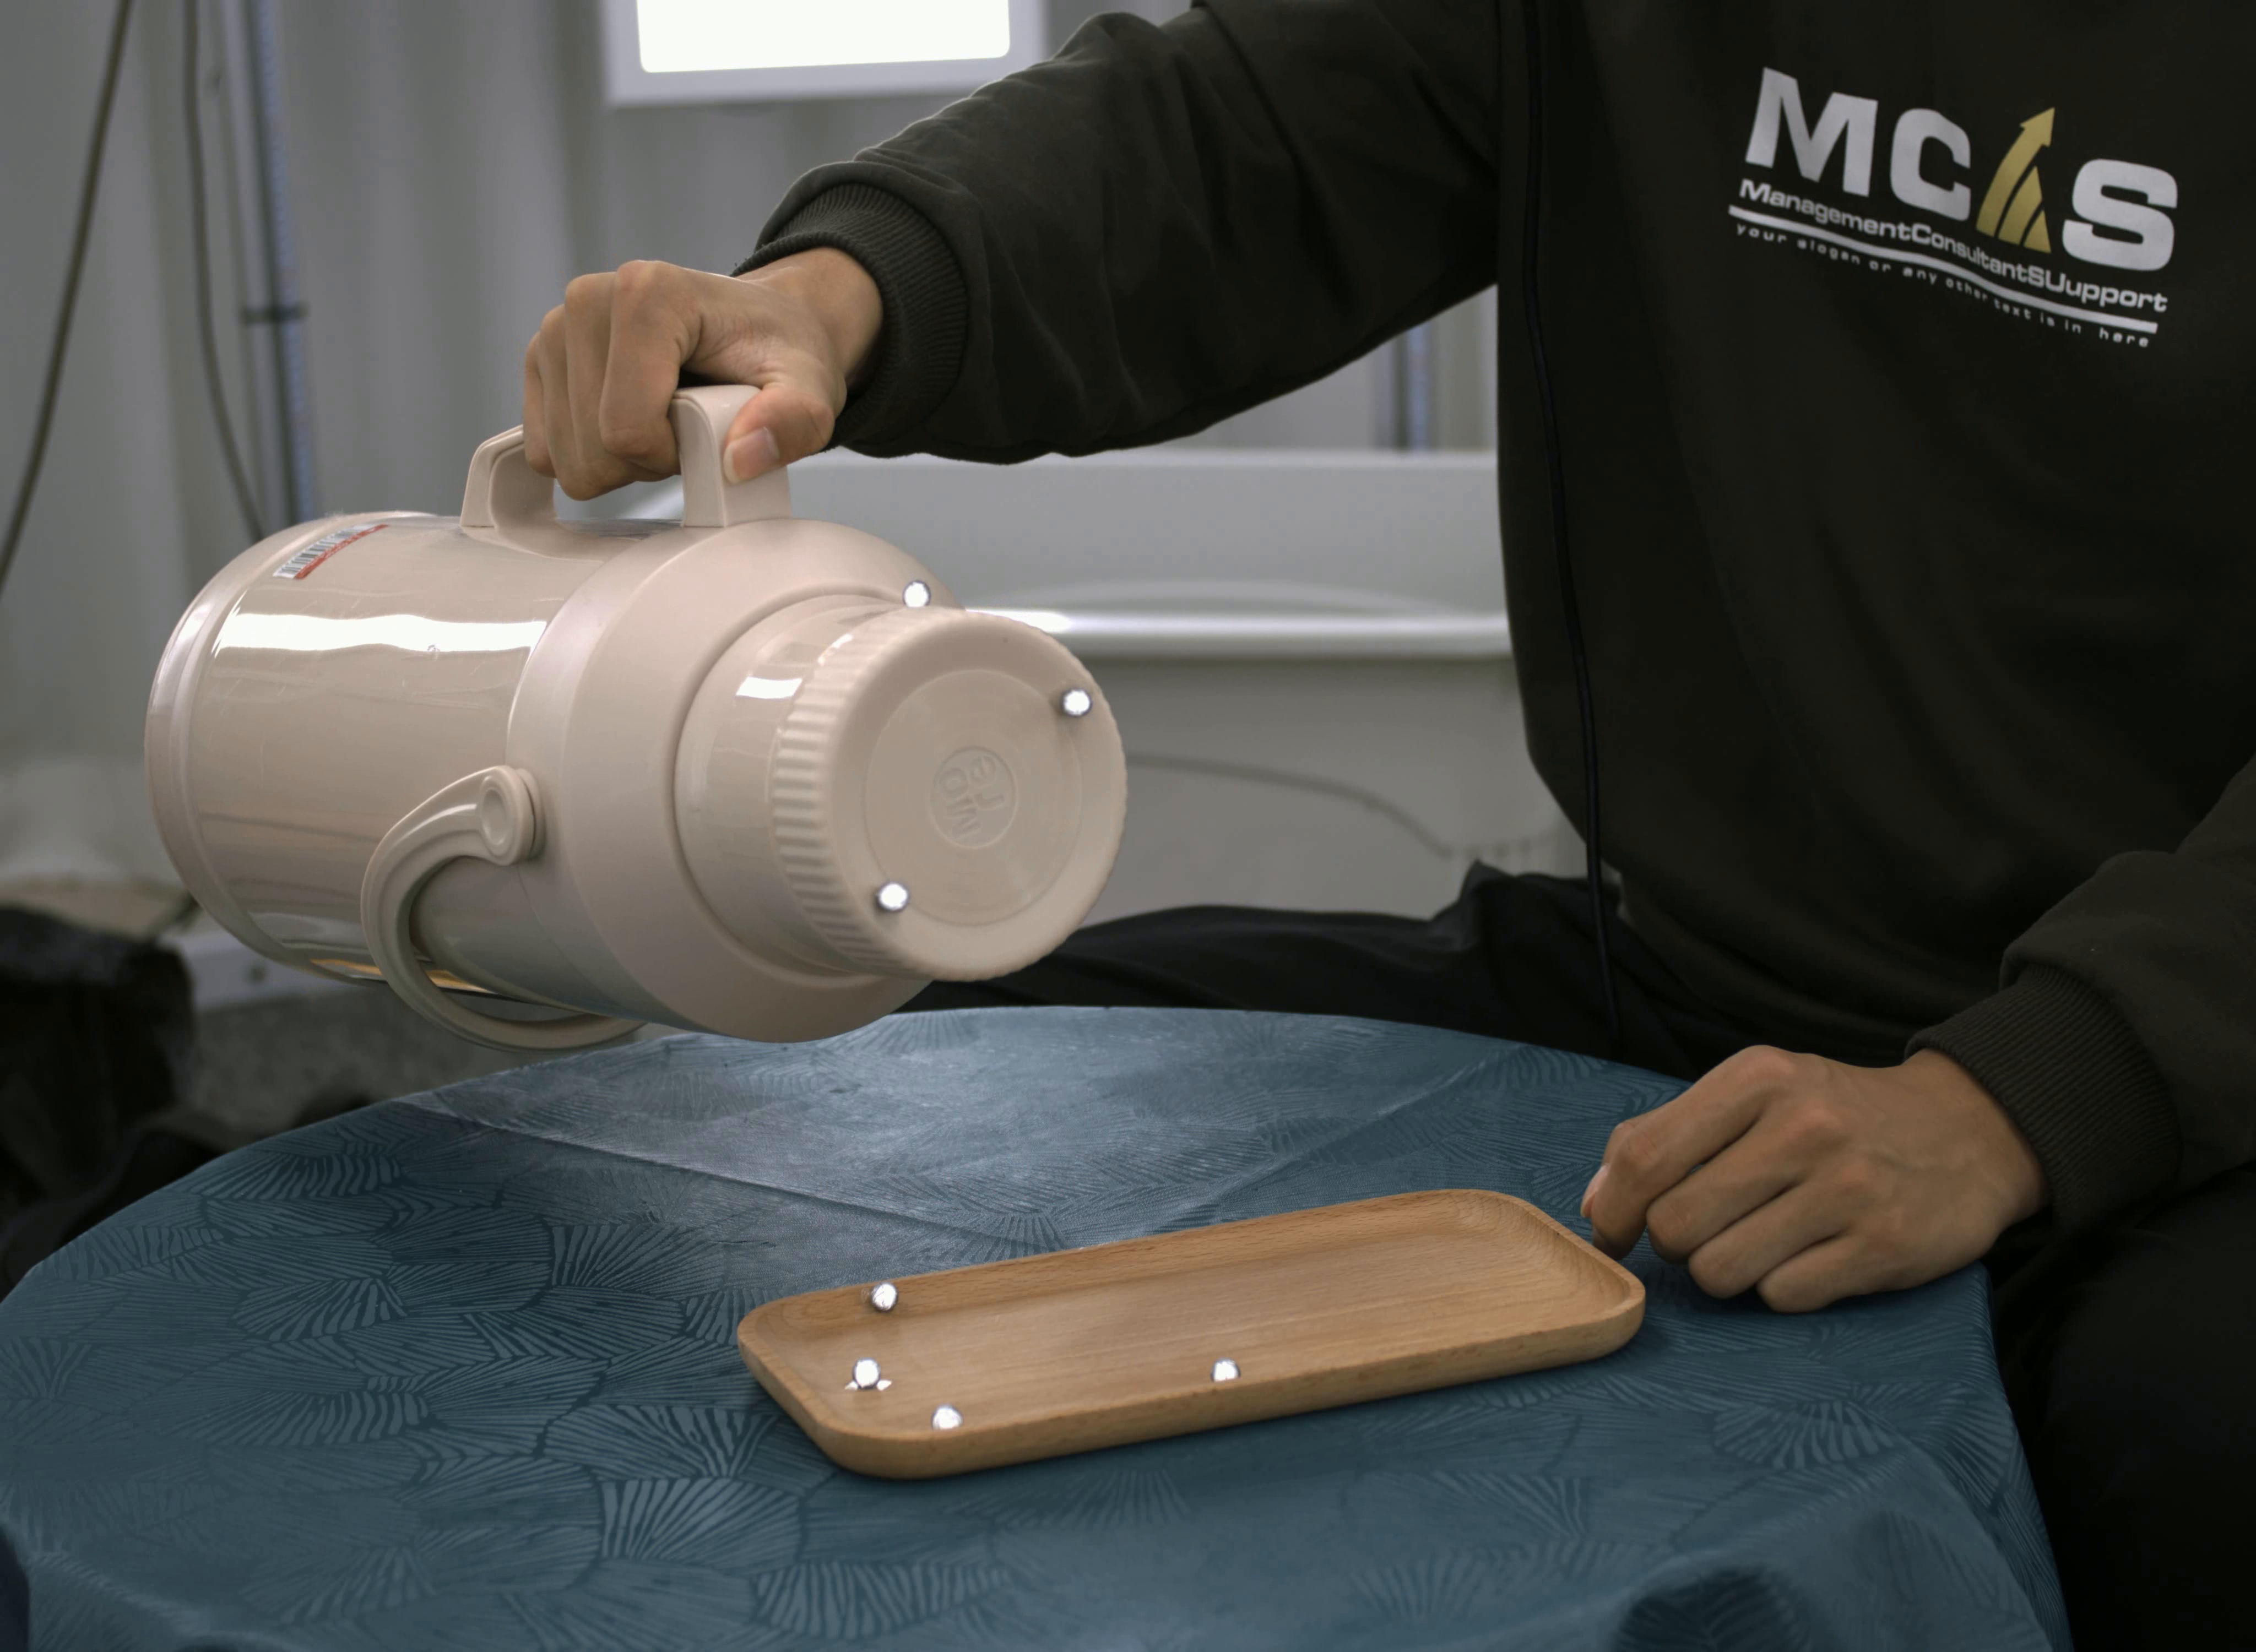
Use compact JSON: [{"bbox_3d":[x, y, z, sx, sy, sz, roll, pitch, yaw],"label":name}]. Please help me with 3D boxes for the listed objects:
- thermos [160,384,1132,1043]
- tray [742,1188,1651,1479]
[{"bbox_3d":[-0.151,-0.032,1.702,0.174,0.207,0.408,-9,7,-31],"label":"thermos"},{"bbox_3d":[0.020,0.145,1.572,0.249,0.023,0.132,-7,18,-18],"label":"tray"}]
